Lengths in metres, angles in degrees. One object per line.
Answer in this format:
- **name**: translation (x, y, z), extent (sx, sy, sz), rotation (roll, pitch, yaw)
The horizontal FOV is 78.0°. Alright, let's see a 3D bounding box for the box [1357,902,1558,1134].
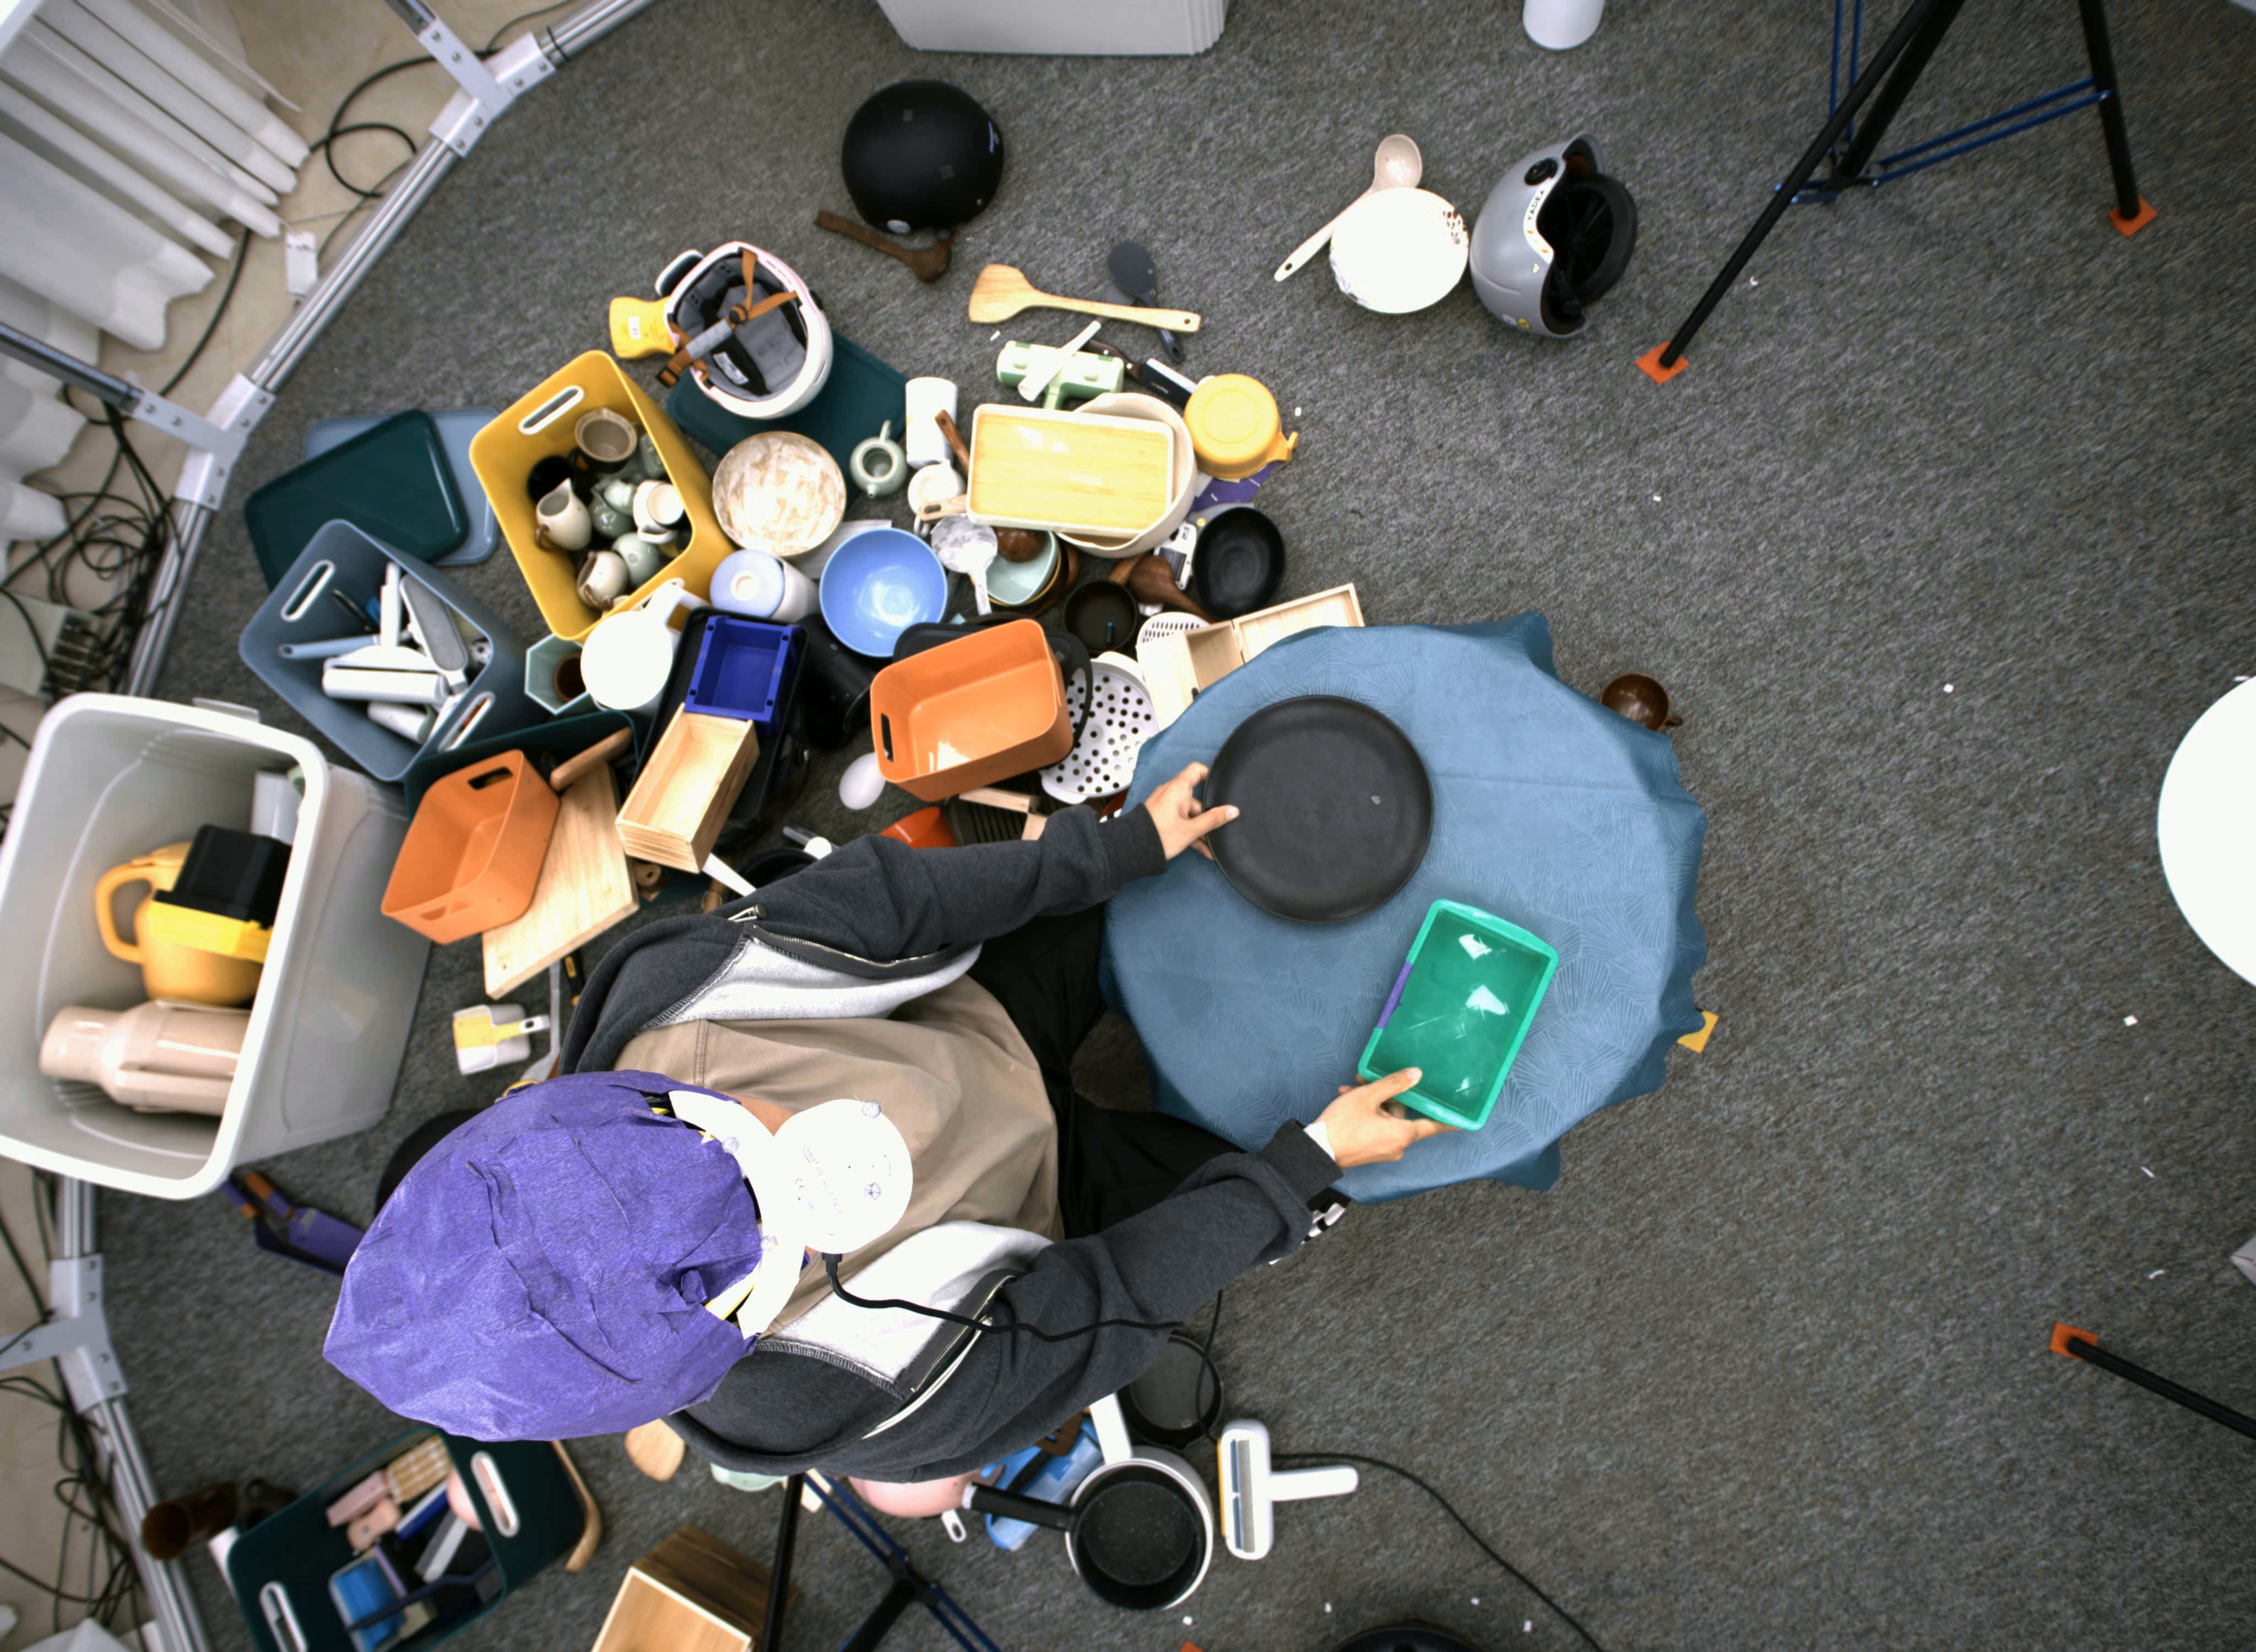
- **box**: translation (0.335, 0.192, 1.409), extent (0.138, 0.065, 0.211), rotation (24, 93, 13)

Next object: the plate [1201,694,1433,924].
- **plate**: translation (0.198, -0.019, 1.460), extent (0.245, 0.023, 0.243), rotation (-1, 87, 6)
